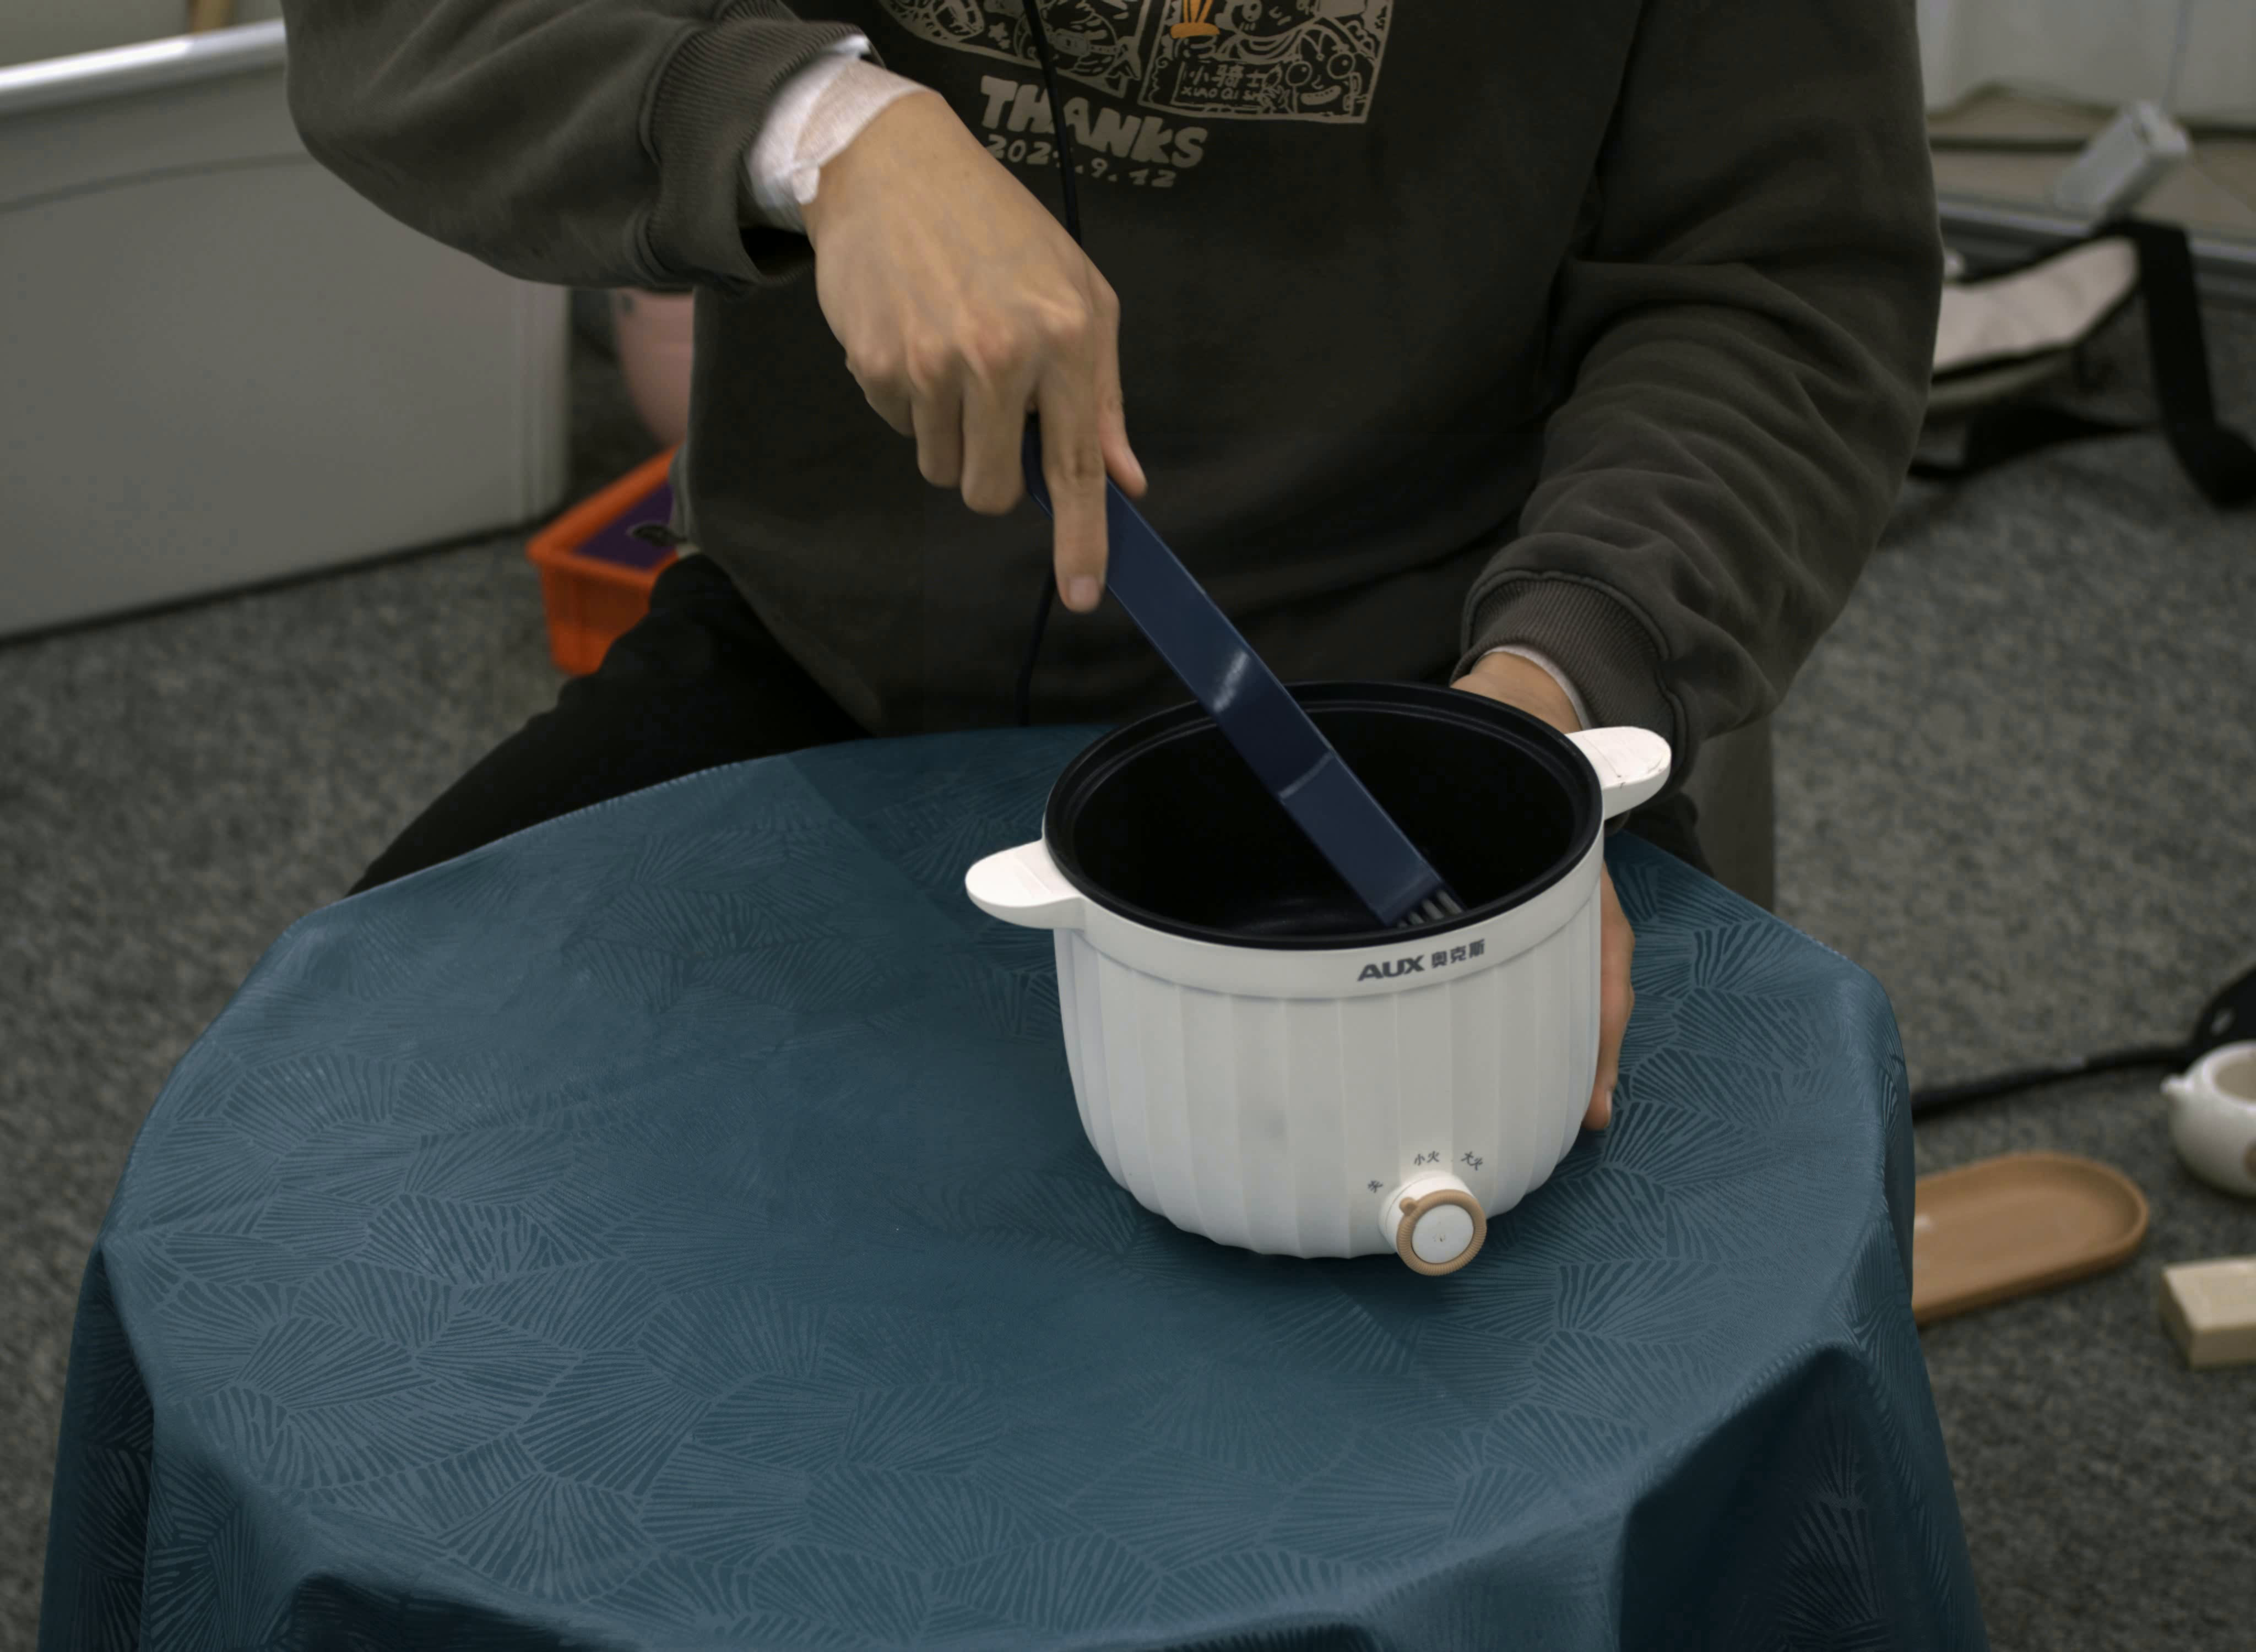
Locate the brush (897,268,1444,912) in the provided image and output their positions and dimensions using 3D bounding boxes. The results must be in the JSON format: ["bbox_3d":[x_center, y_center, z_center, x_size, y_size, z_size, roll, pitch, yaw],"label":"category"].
[{"bbox_3d":[0.021,-0.064,1.828,0.033,0.273,0.096,-39,6,3],"label":"brush"}]

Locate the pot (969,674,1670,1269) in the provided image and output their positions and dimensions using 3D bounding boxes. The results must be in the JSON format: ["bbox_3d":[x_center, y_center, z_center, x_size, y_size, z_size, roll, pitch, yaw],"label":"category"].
[{"bbox_3d":[0.070,0.052,1.837,0.241,0.141,0.192,-13,25,-15],"label":"pot"}]
